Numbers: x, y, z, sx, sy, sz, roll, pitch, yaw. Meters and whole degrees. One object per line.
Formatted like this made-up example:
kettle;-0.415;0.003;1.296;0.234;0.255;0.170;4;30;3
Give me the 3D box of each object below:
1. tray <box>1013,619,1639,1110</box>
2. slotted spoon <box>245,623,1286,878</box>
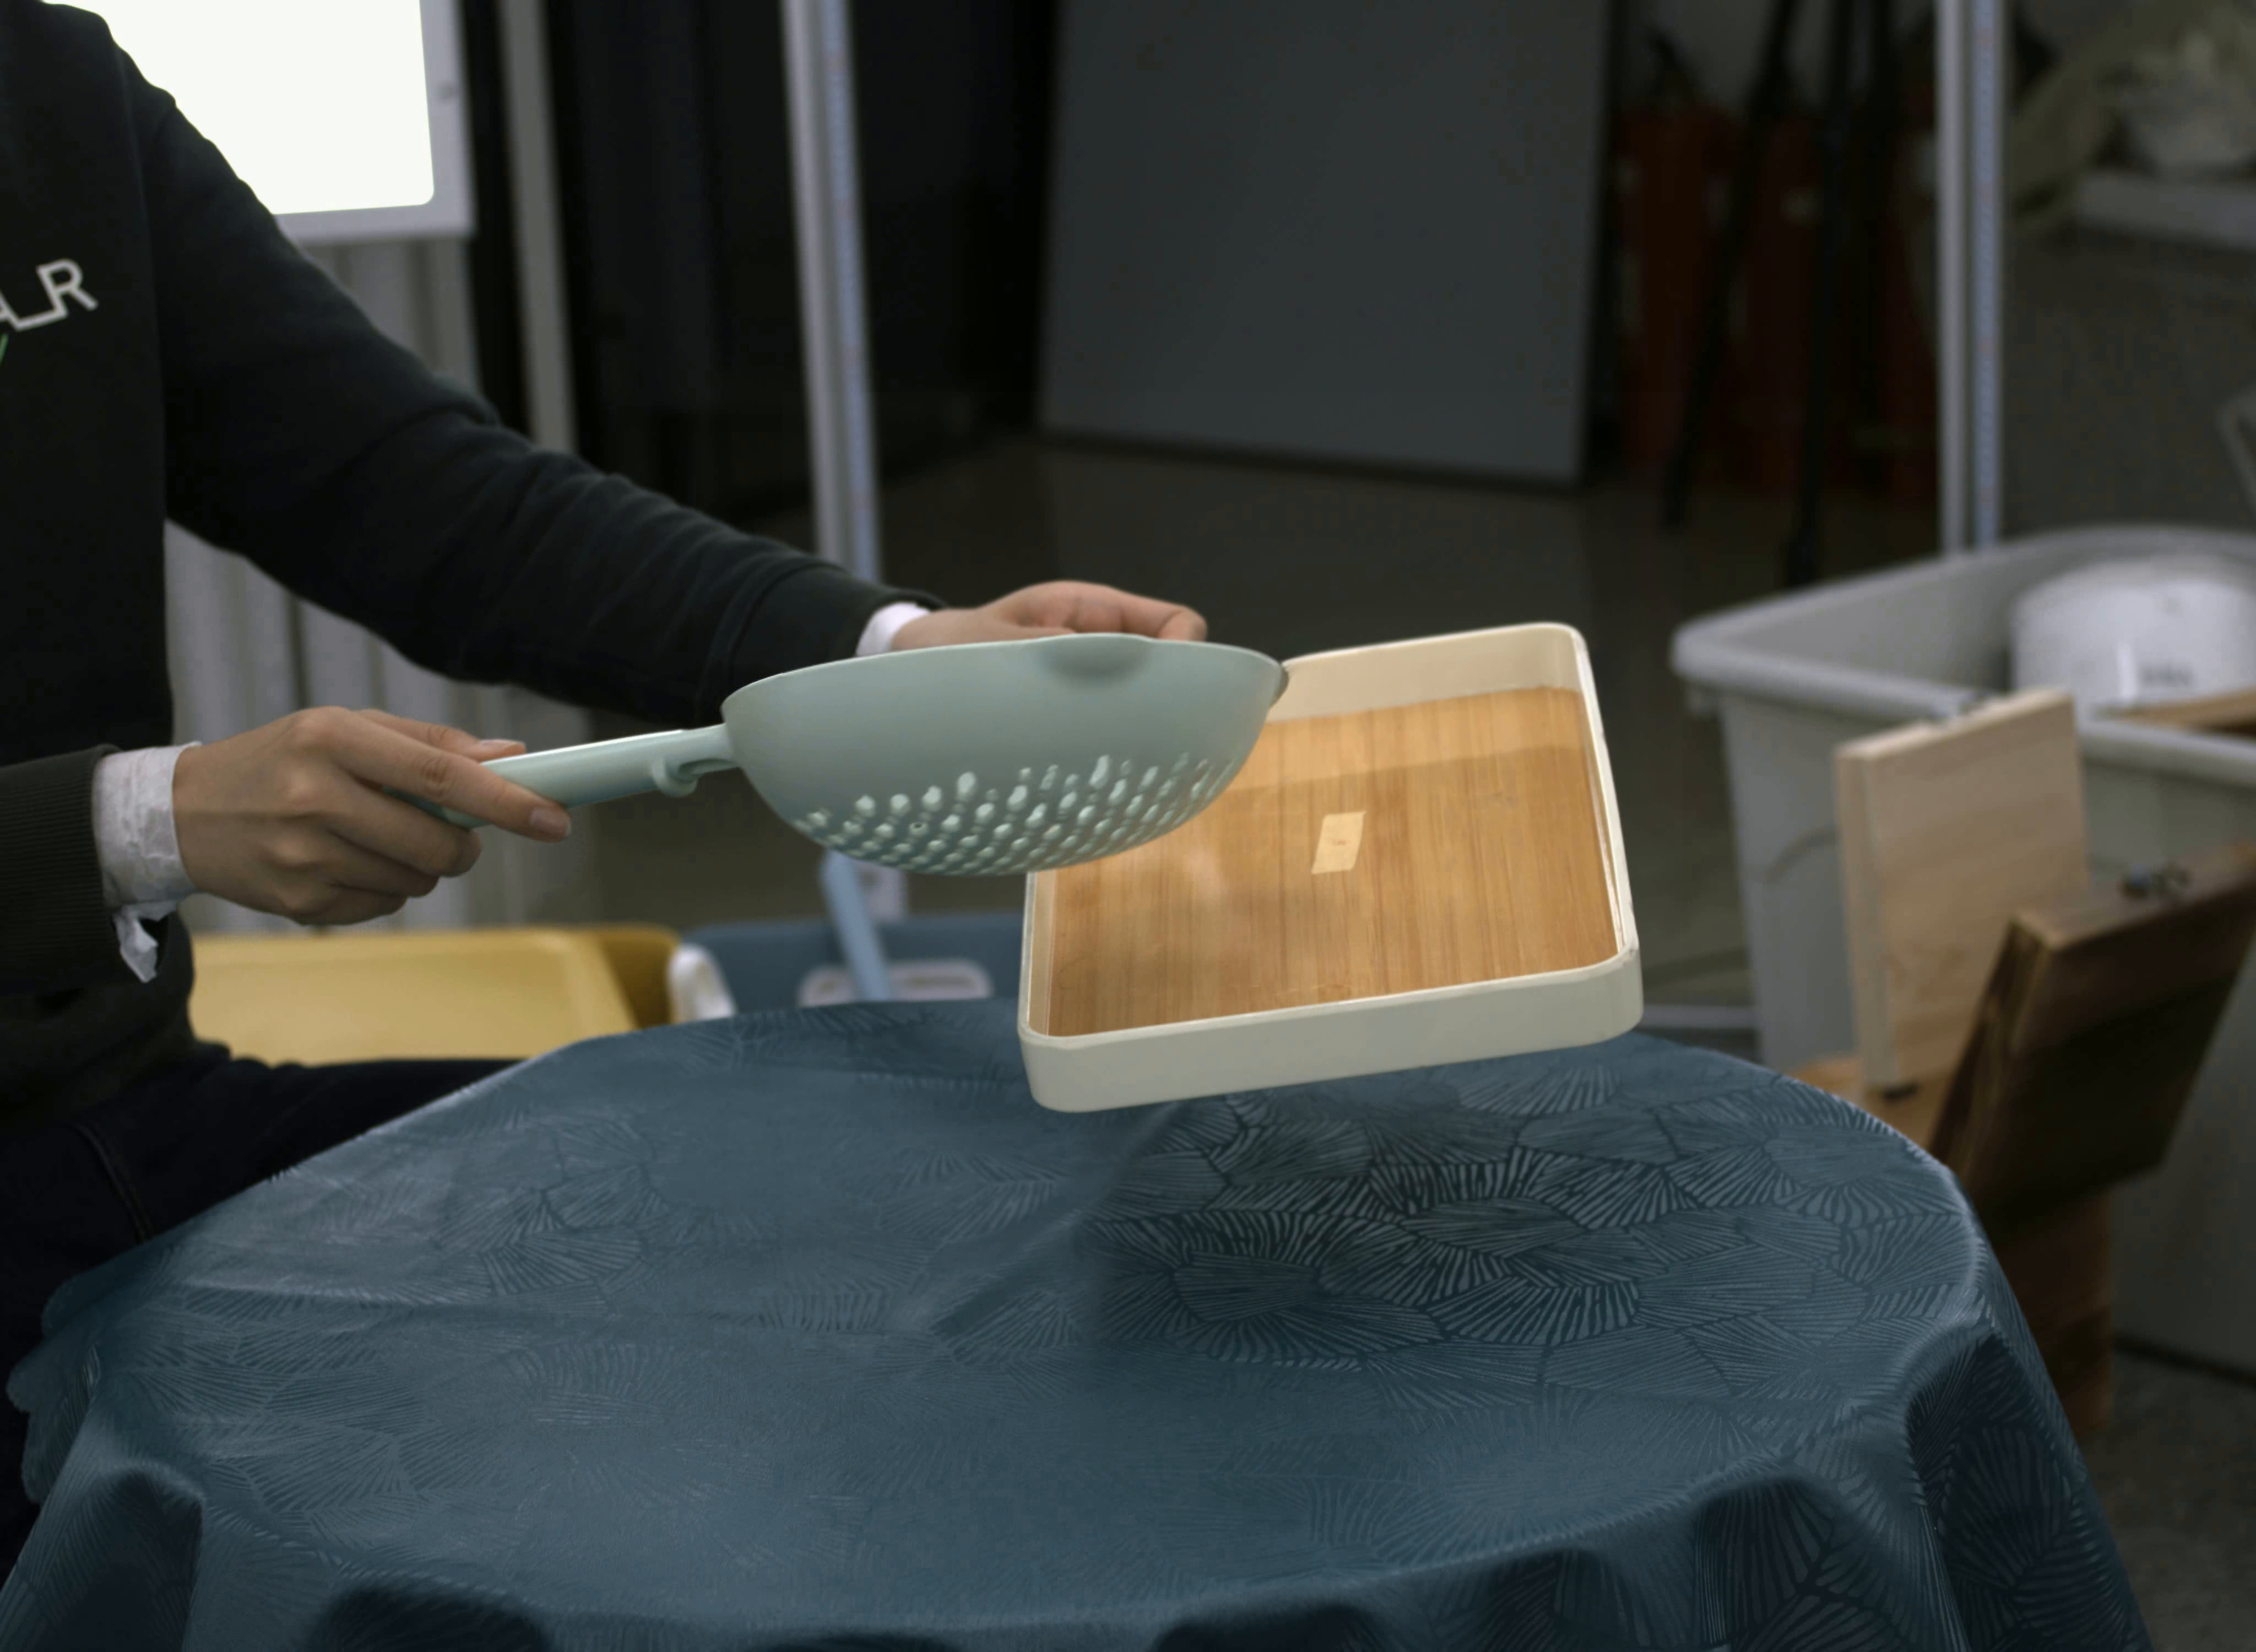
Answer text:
tray;0.062;0.007;1.734;0.190;0.027;0.301;-8;21;5
slotted spoon;-0.125;-0.019;1.681;0.360;0.076;0.166;1;-6;28
